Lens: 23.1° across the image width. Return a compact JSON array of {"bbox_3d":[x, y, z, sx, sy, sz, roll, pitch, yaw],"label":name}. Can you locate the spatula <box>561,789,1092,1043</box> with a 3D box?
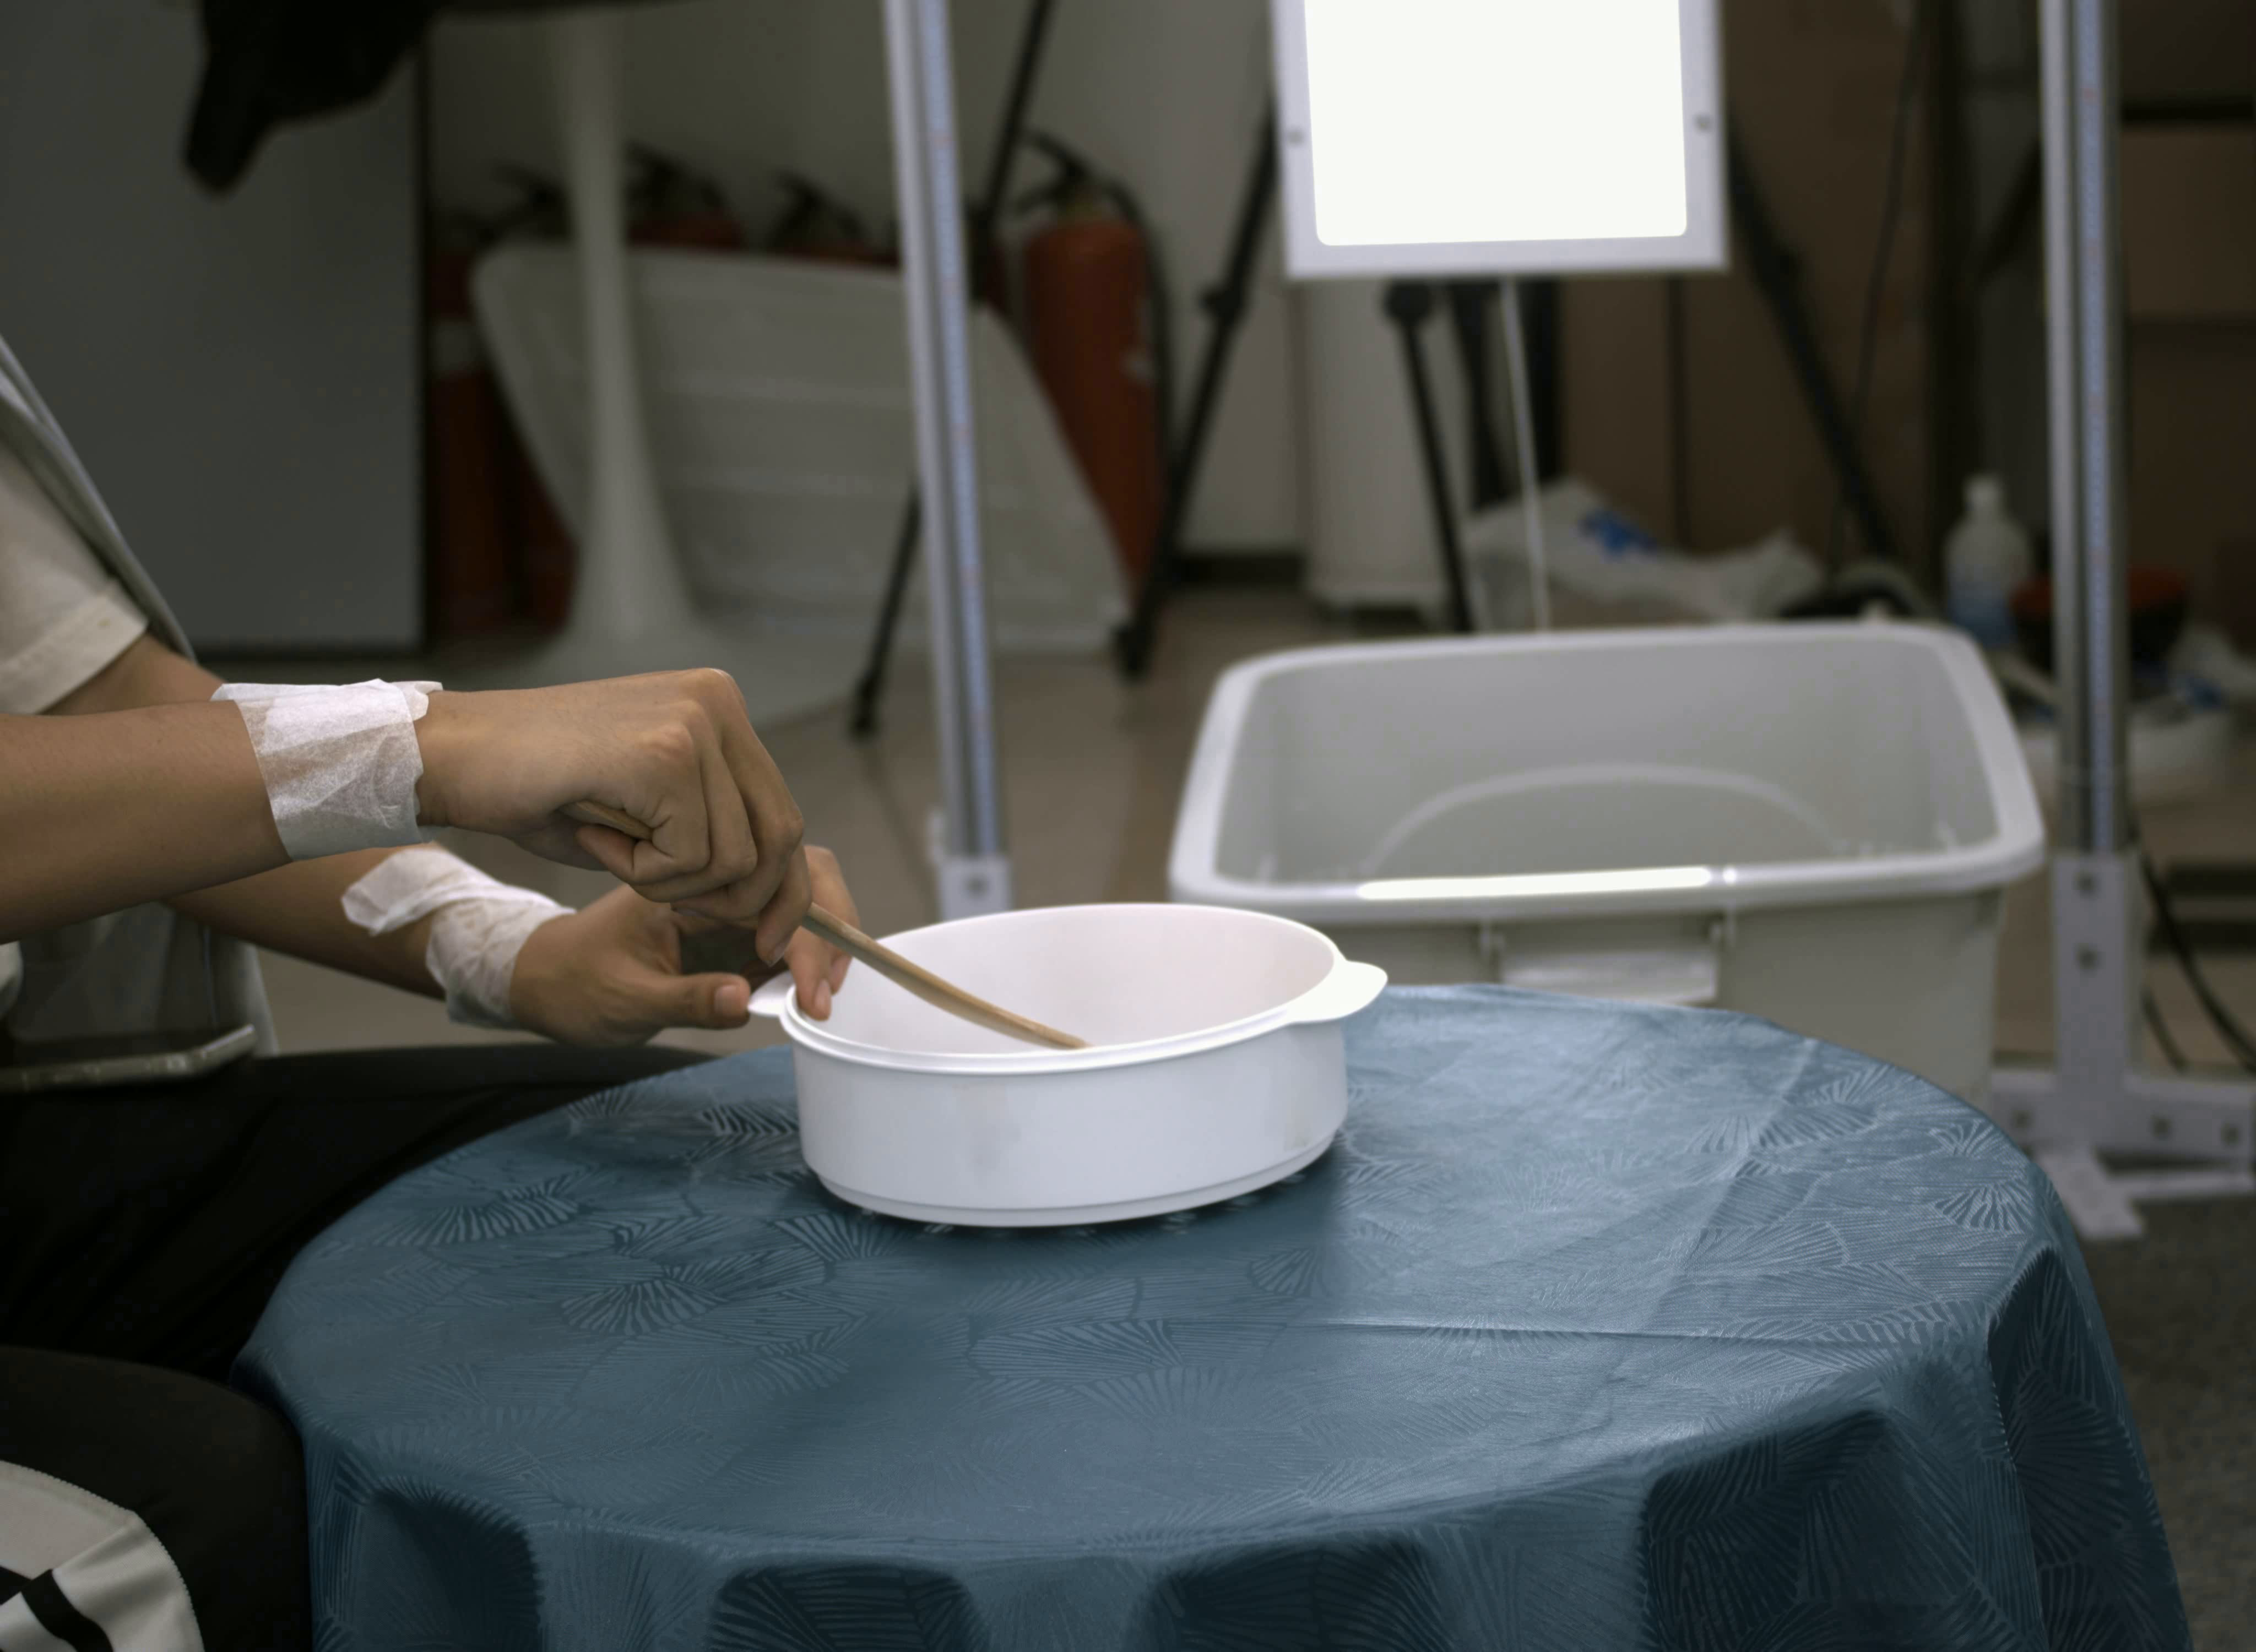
[{"bbox_3d":[-0.082,0.040,1.851,0.081,0.016,0.321,12,-12,40],"label":"spatula"}]

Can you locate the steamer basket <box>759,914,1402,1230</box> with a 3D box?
[{"bbox_3d":[-0.015,0.086,1.932,0.233,0.069,0.198,-1,13,20],"label":"steamer basket"}]
